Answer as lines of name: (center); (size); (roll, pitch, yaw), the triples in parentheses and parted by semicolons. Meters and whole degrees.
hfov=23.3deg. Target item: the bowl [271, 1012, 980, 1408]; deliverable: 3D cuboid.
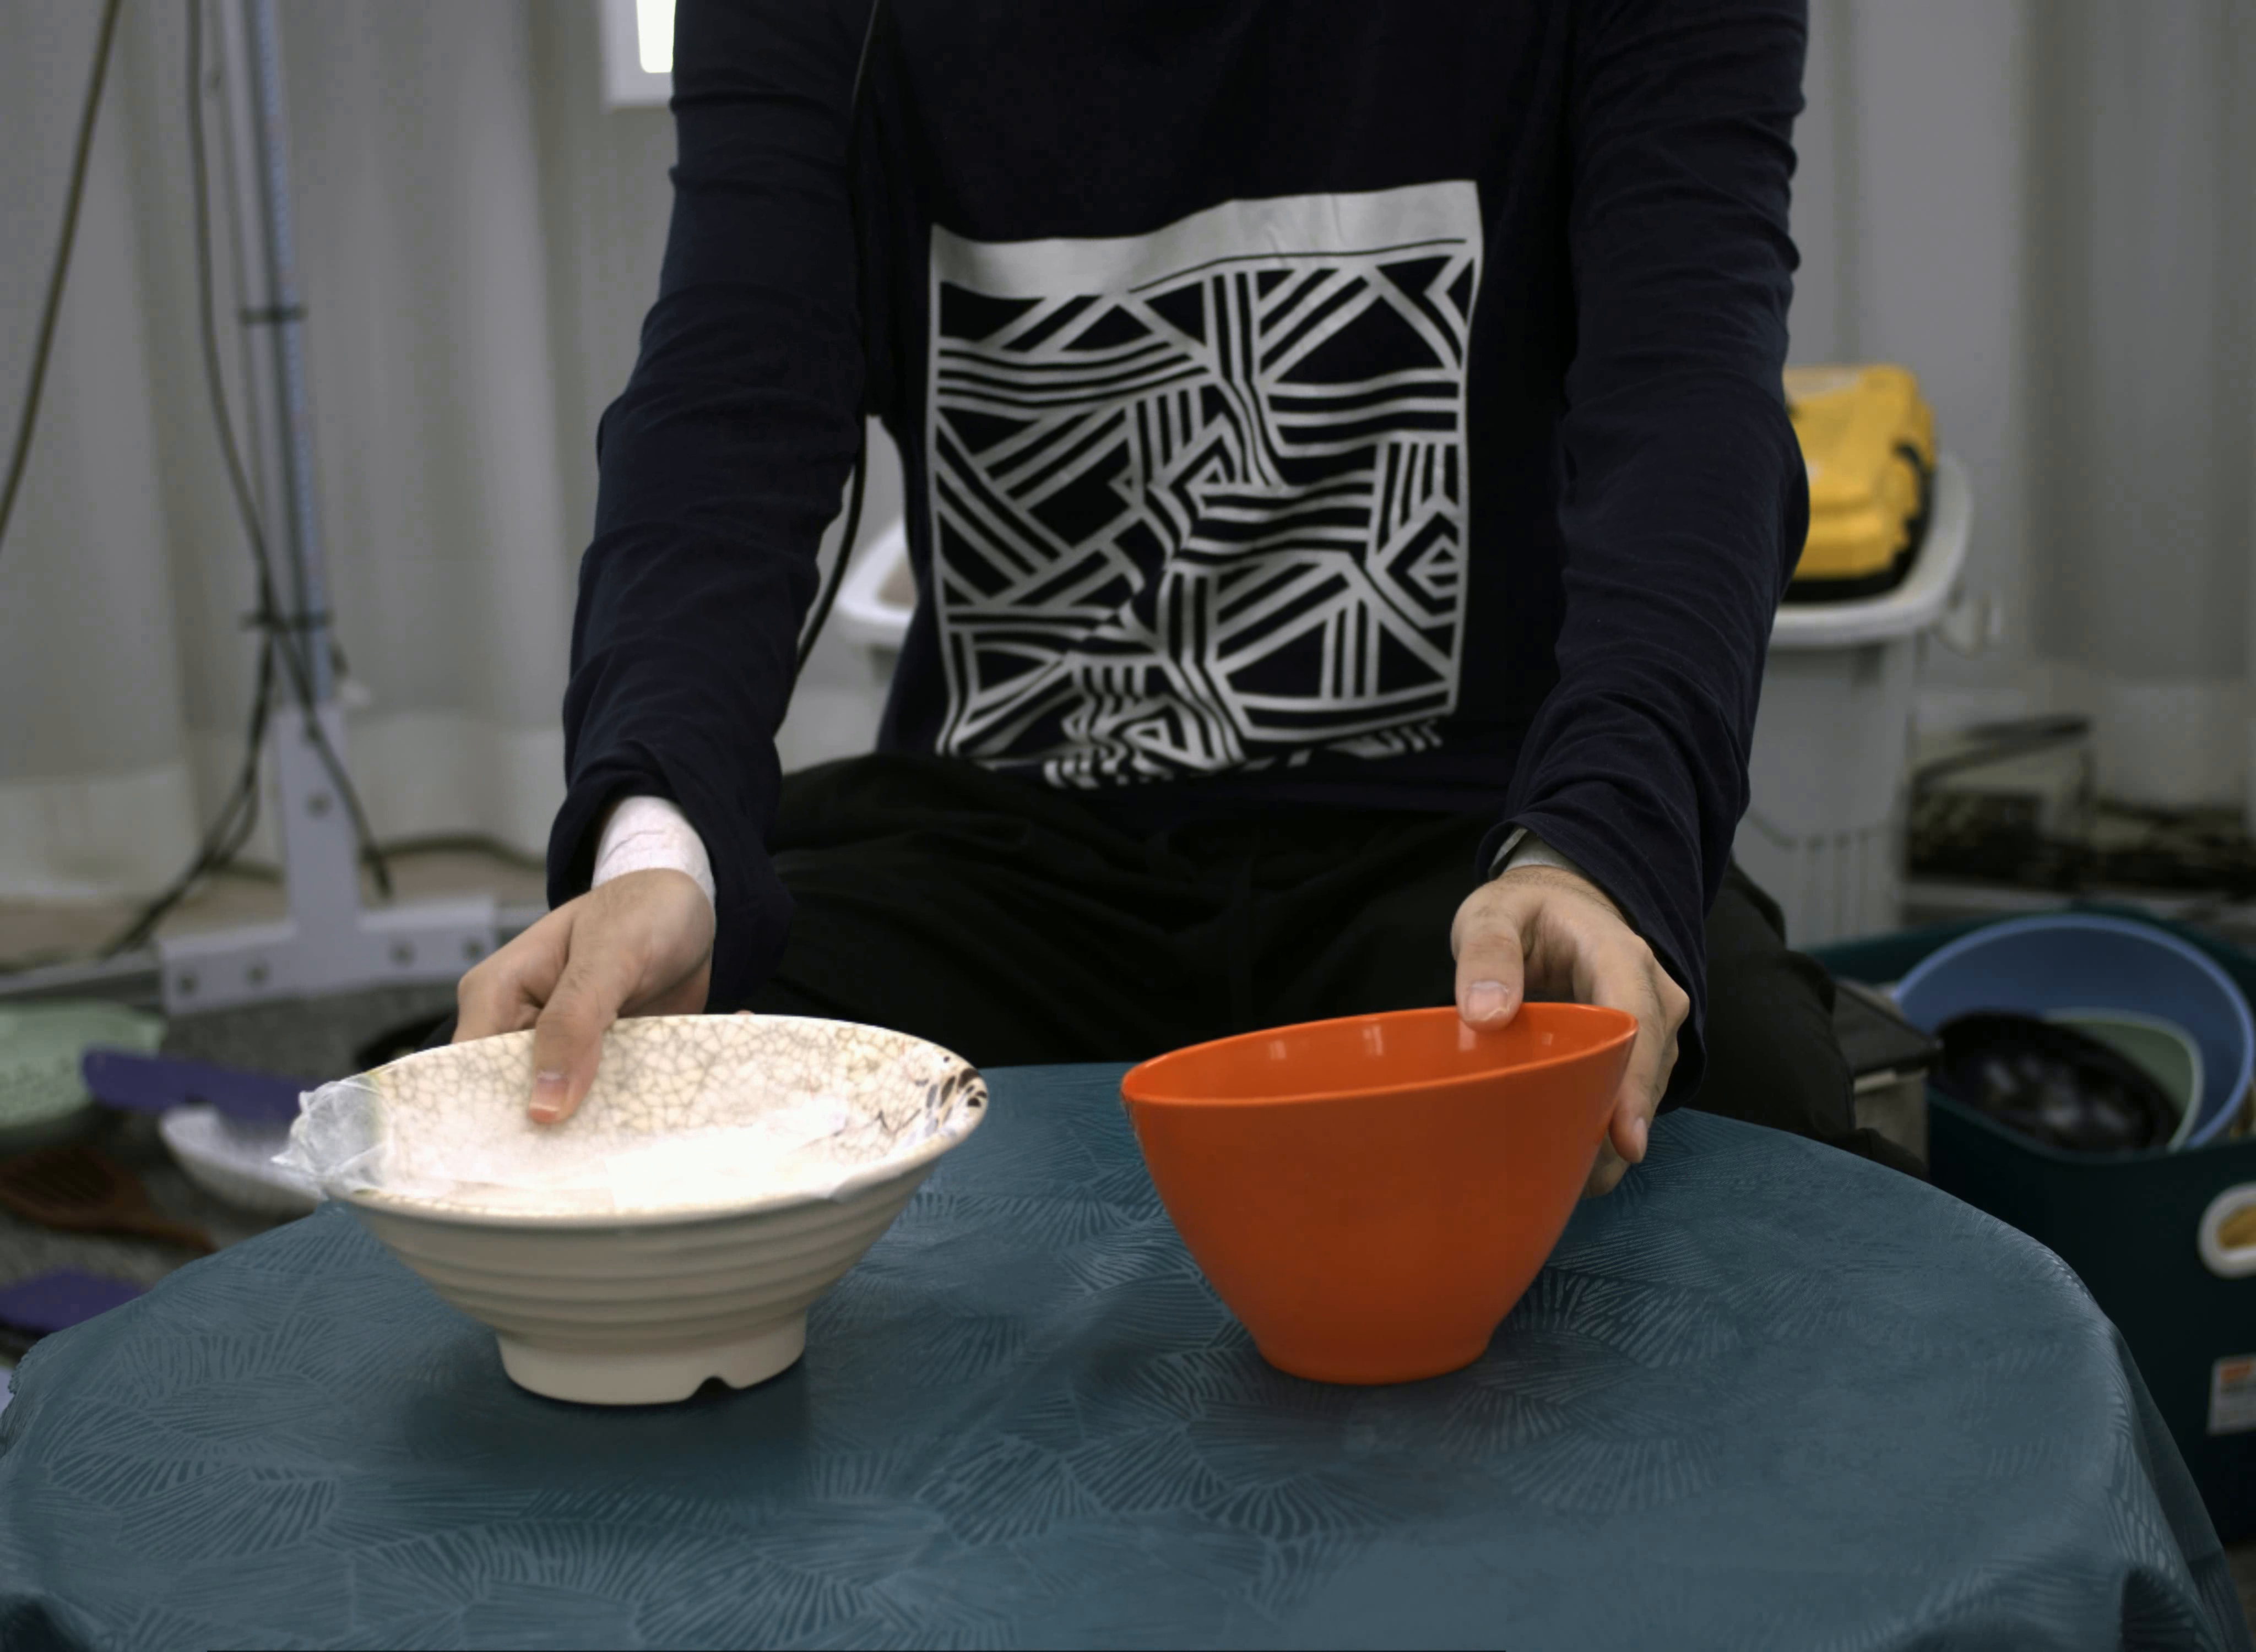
bowl: (-0.143, 0.118, 1.582); (0.203, 0.078, 0.205); (-2, 13, 0)

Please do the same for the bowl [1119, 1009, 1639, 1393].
bowl: (0.072, 0.104, 1.550); (0.147, 0.104, 0.149); (-3, 12, 0)
